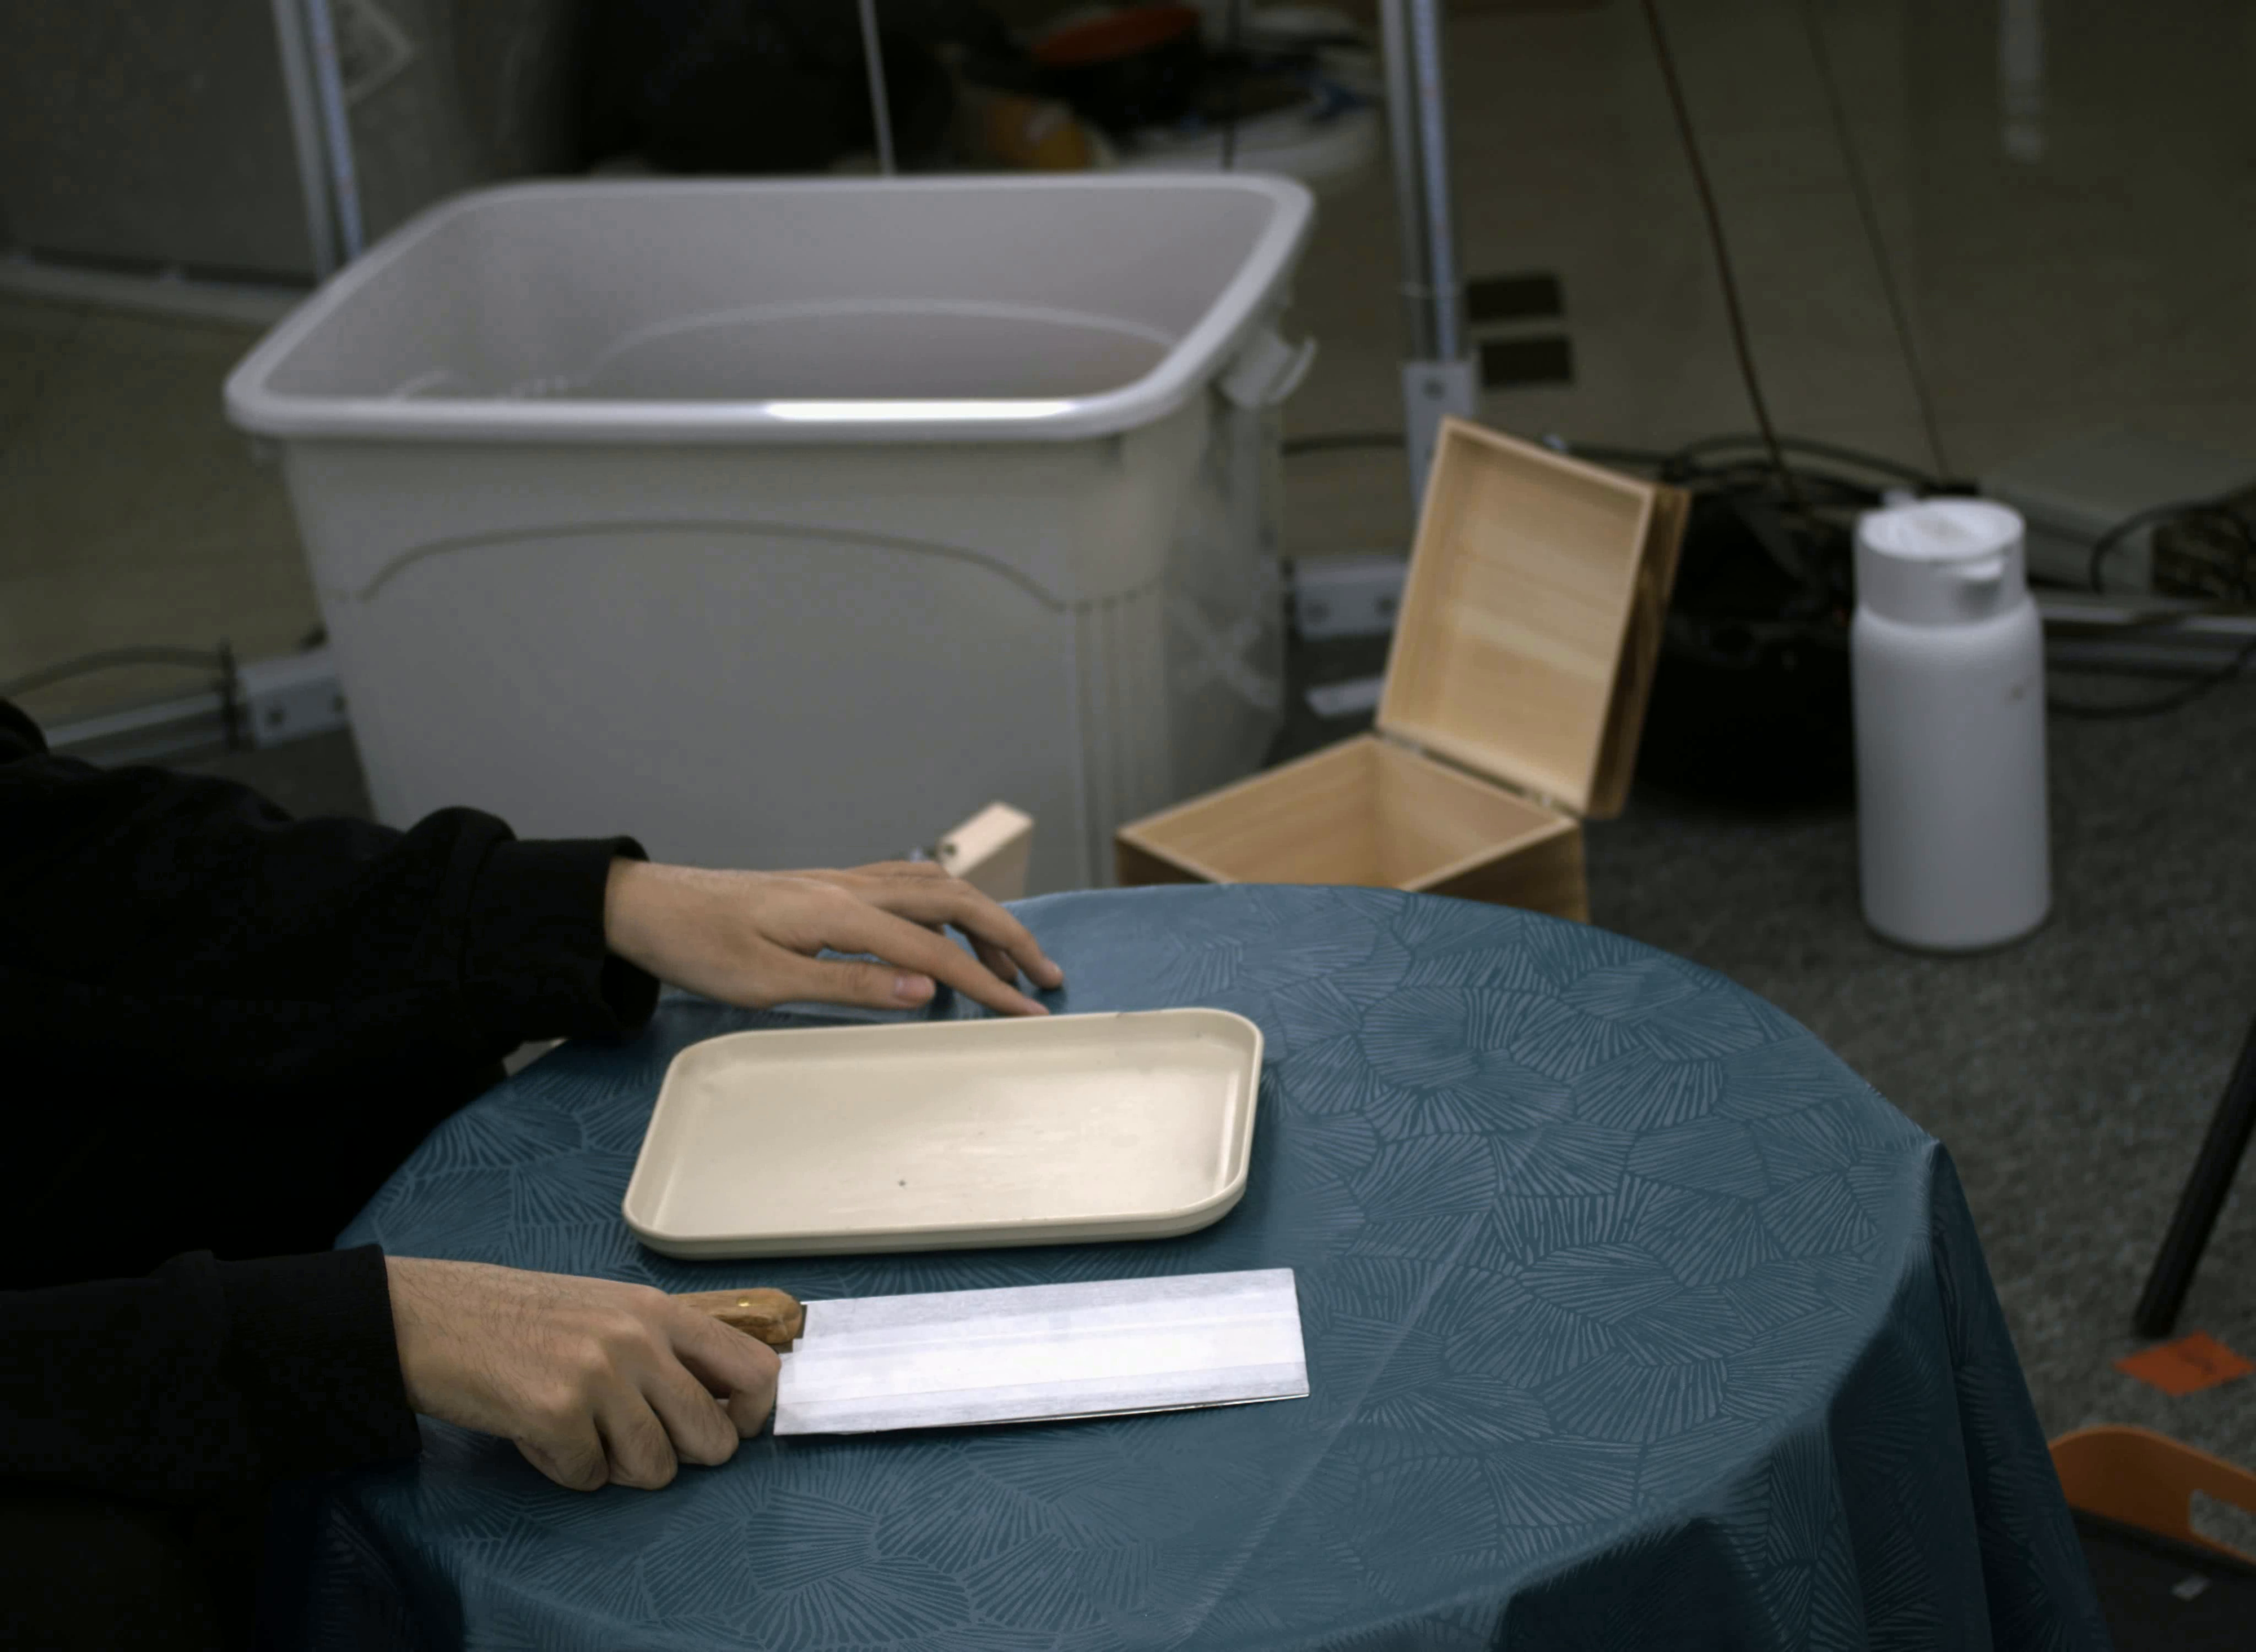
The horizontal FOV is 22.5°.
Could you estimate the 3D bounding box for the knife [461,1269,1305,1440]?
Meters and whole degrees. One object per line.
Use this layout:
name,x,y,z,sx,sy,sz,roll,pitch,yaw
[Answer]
knife,-0.089,0.191,2.038,0.305,0.021,0.091,-4,26,-1

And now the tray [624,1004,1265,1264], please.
tray,-0.068,0.119,2.182,0.239,0.018,0.168,-3,26,7
